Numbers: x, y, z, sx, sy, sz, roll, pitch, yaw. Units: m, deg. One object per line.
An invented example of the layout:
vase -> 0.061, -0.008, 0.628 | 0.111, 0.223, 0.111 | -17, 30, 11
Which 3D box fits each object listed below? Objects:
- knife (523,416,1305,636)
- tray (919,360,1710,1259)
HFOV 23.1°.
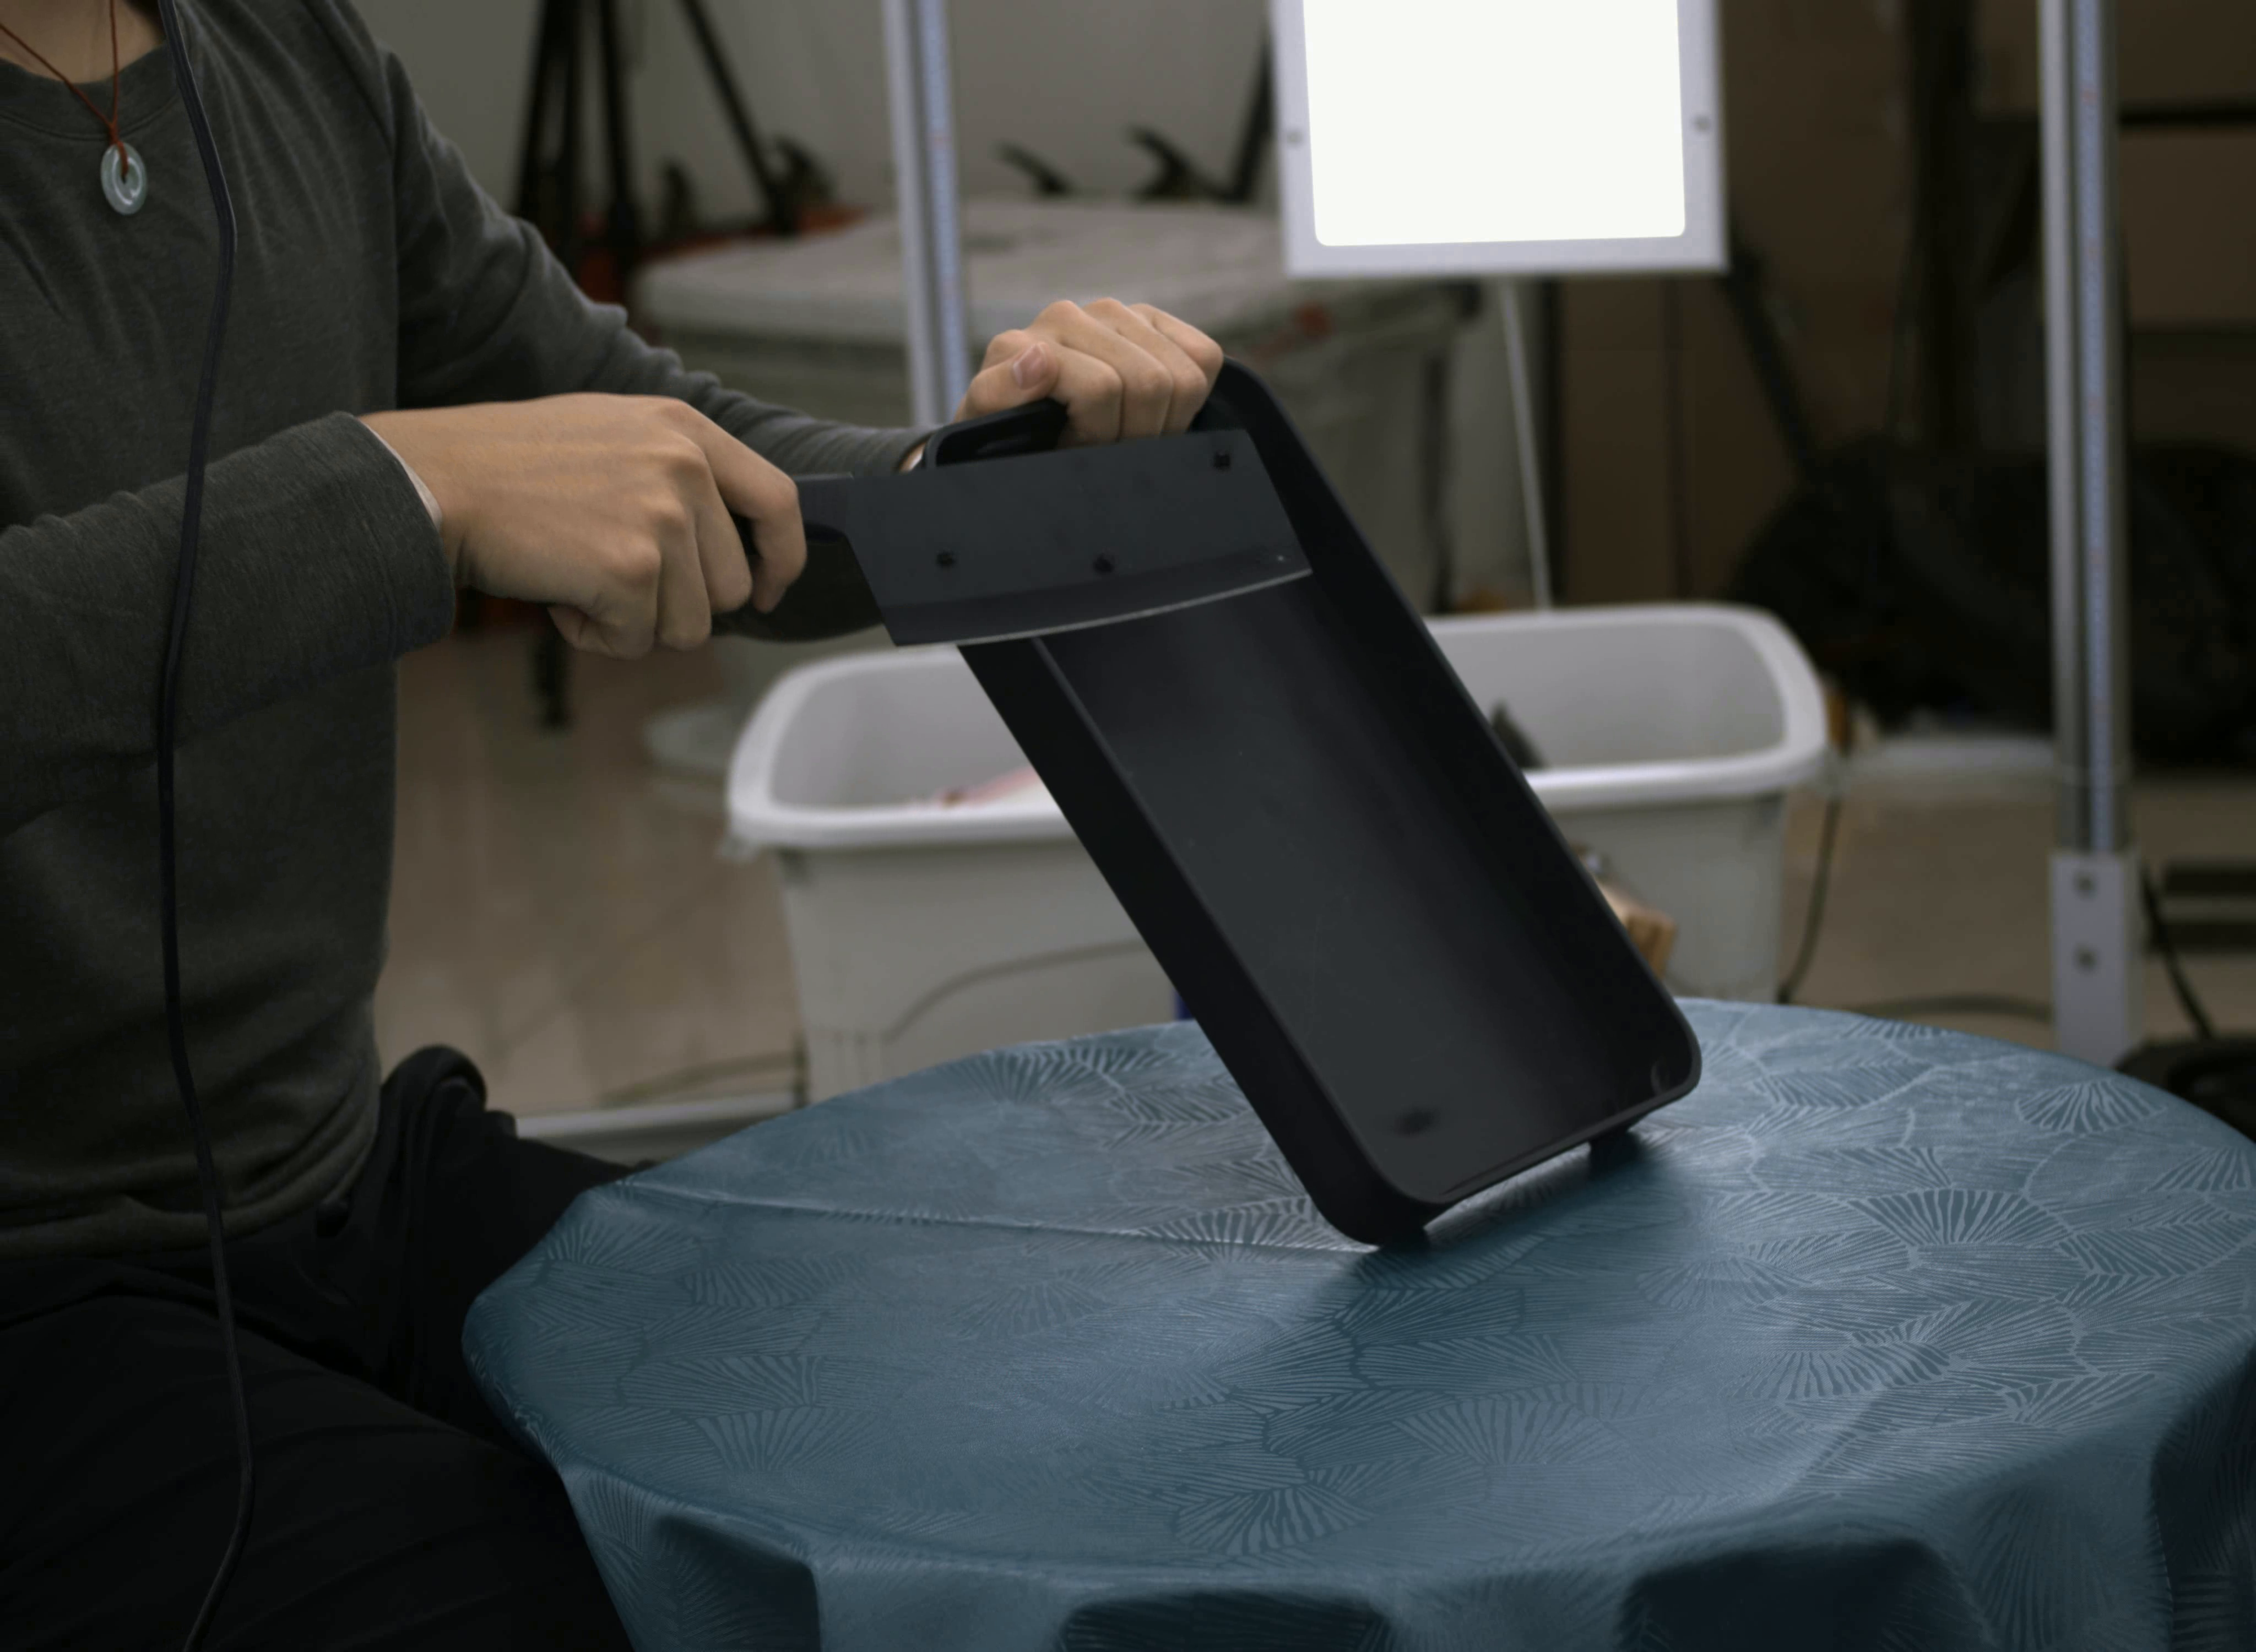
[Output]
knife -> -0.068, -0.097, 1.836 | 0.295, 0.081, 0.021 | -6, -27, -32
tray -> 0.059, -0.010, 1.892 | 0.179, 0.319, 0.038 | -22, -17, -47
